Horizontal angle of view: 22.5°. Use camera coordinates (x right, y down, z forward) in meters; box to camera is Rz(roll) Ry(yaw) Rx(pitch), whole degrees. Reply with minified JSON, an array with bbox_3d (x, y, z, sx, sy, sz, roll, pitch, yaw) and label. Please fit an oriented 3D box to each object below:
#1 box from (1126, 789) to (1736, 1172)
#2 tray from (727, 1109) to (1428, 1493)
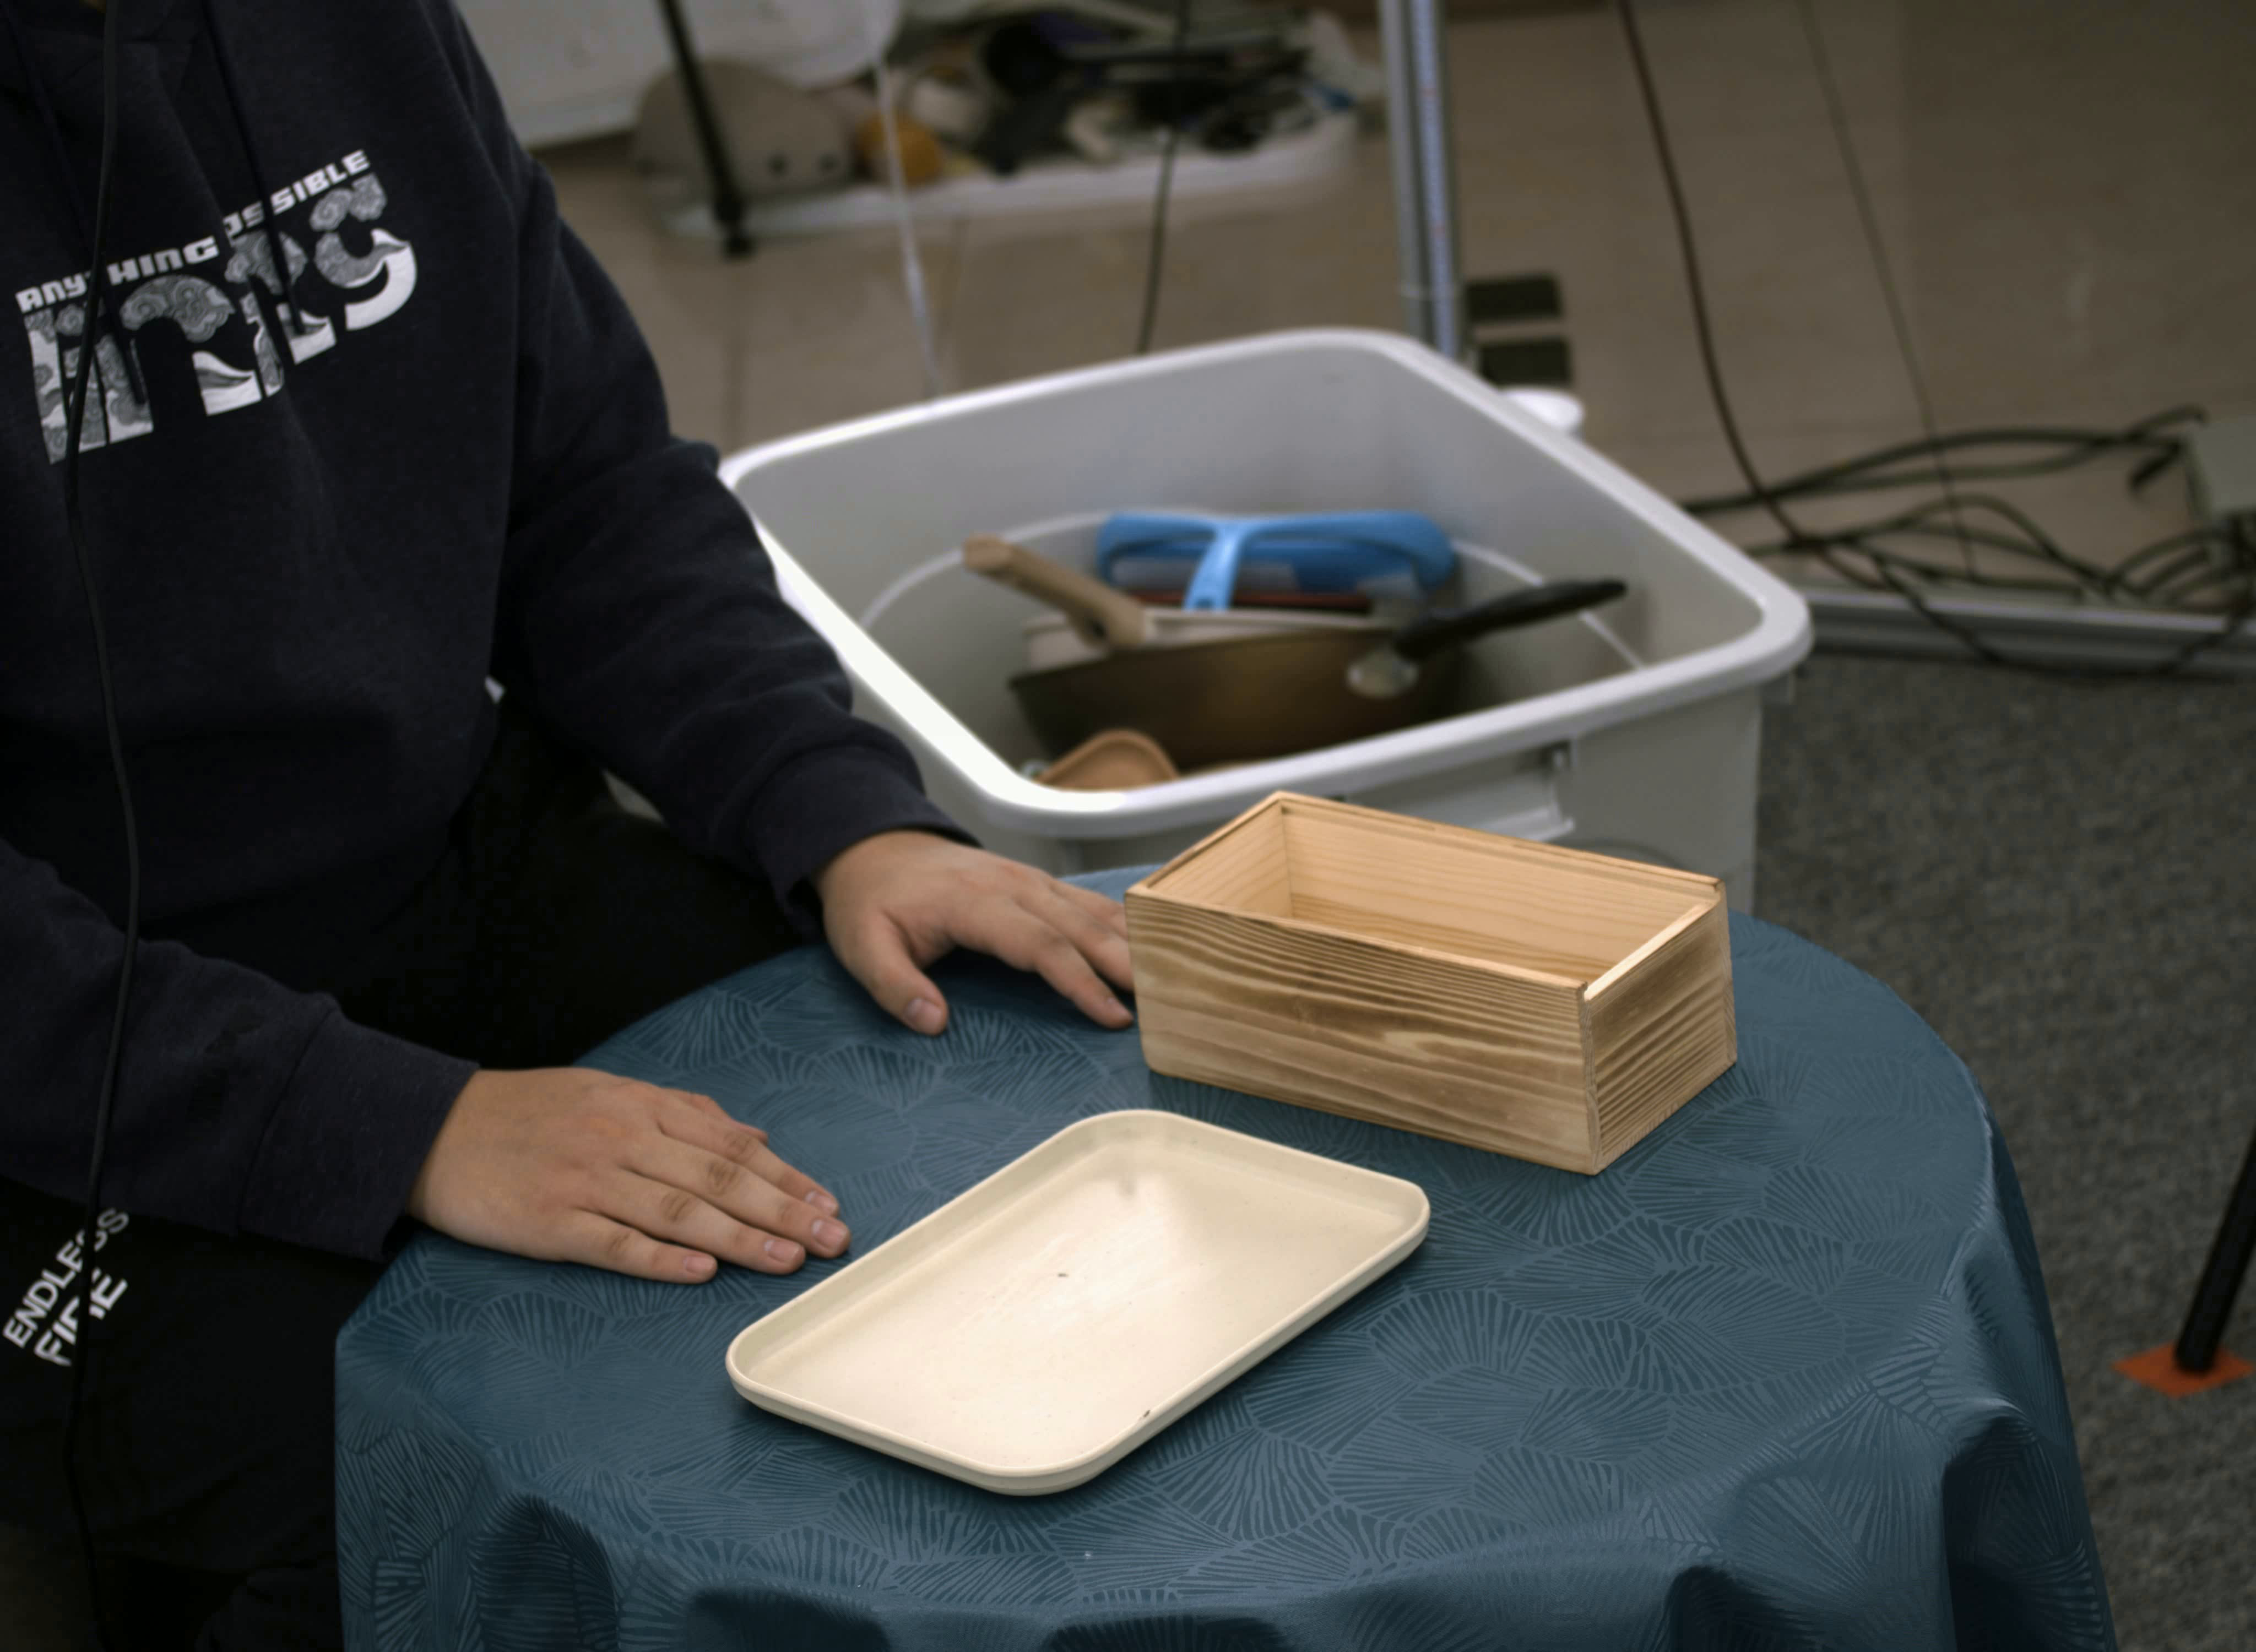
[{"bbox_3d":[0.117,0.057,2.200,0.210,0.081,0.106,12,30,35],"label":"box"},{"bbox_3d":[-0.016,0.171,2.061,0.170,0.018,0.237,14,32,38],"label":"tray"}]
